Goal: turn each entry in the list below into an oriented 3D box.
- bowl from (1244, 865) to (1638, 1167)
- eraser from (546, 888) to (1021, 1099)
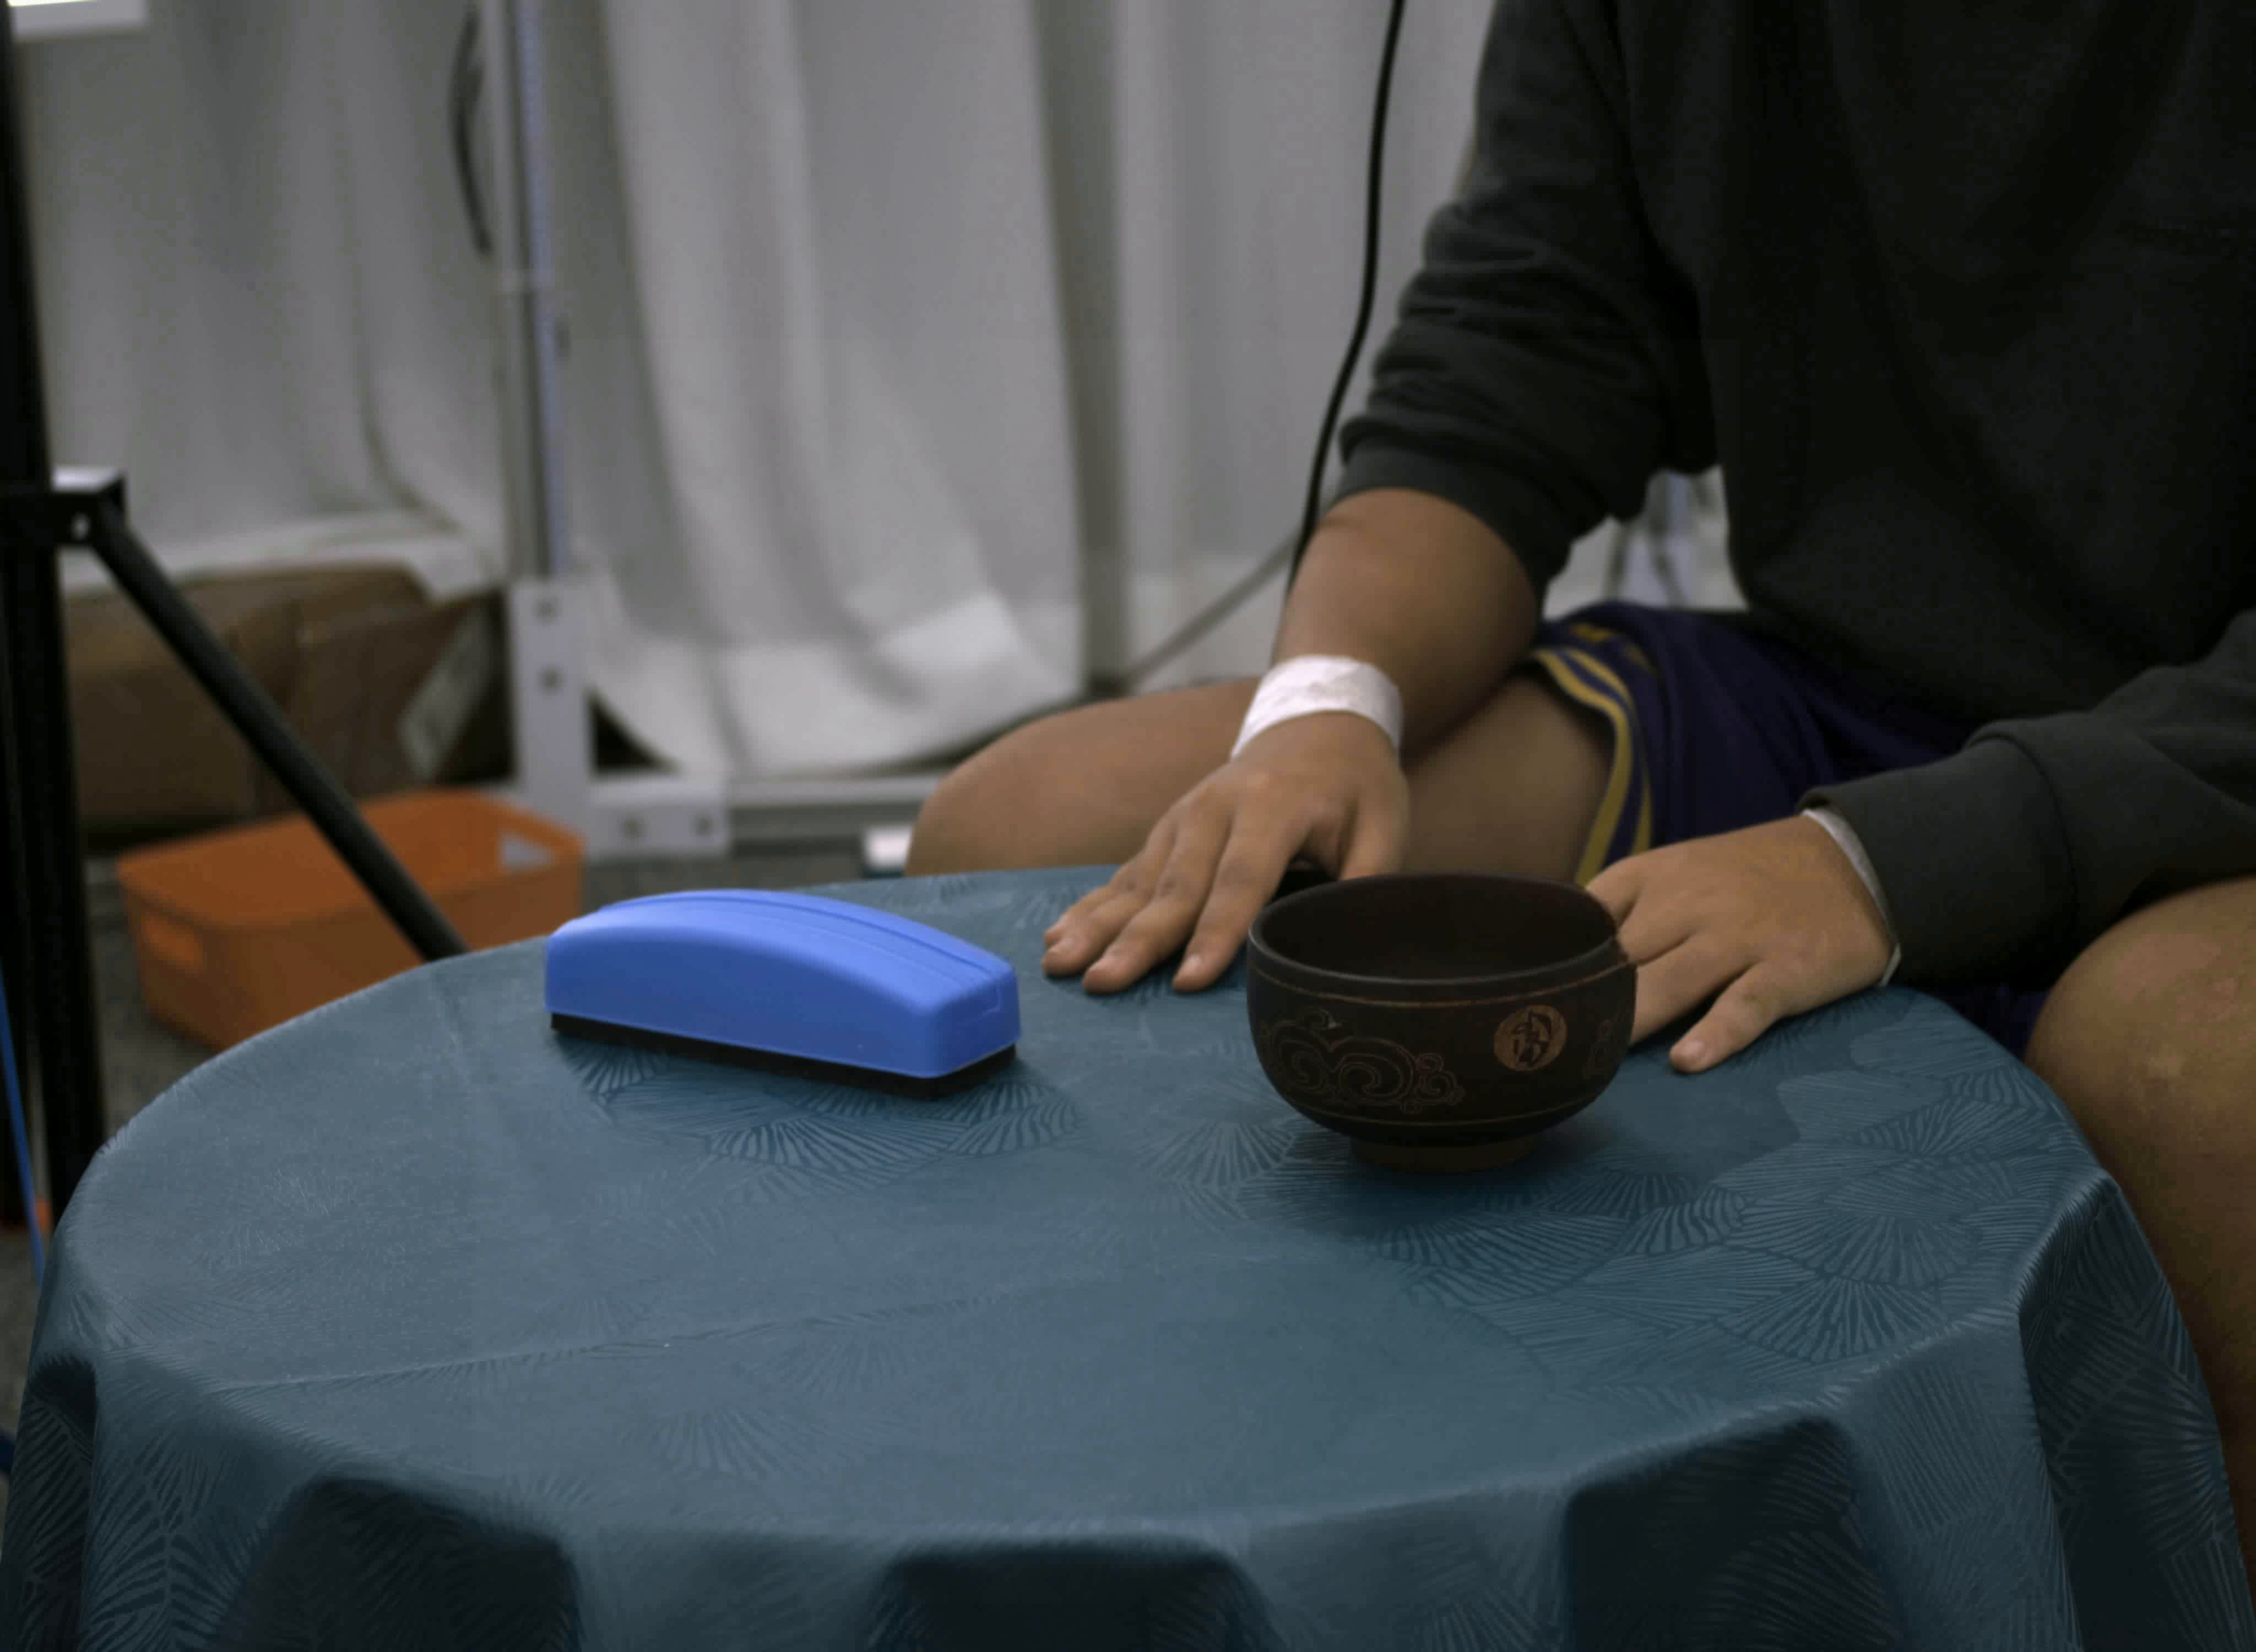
[{"bbox_3d":[0.093,0.060,1.578,0.117,0.070,0.118,-3,15,-1],"label":"bowl"},{"bbox_3d":[-0.112,0.049,1.704,0.165,0.047,0.053,8,20,33],"label":"eraser"}]
